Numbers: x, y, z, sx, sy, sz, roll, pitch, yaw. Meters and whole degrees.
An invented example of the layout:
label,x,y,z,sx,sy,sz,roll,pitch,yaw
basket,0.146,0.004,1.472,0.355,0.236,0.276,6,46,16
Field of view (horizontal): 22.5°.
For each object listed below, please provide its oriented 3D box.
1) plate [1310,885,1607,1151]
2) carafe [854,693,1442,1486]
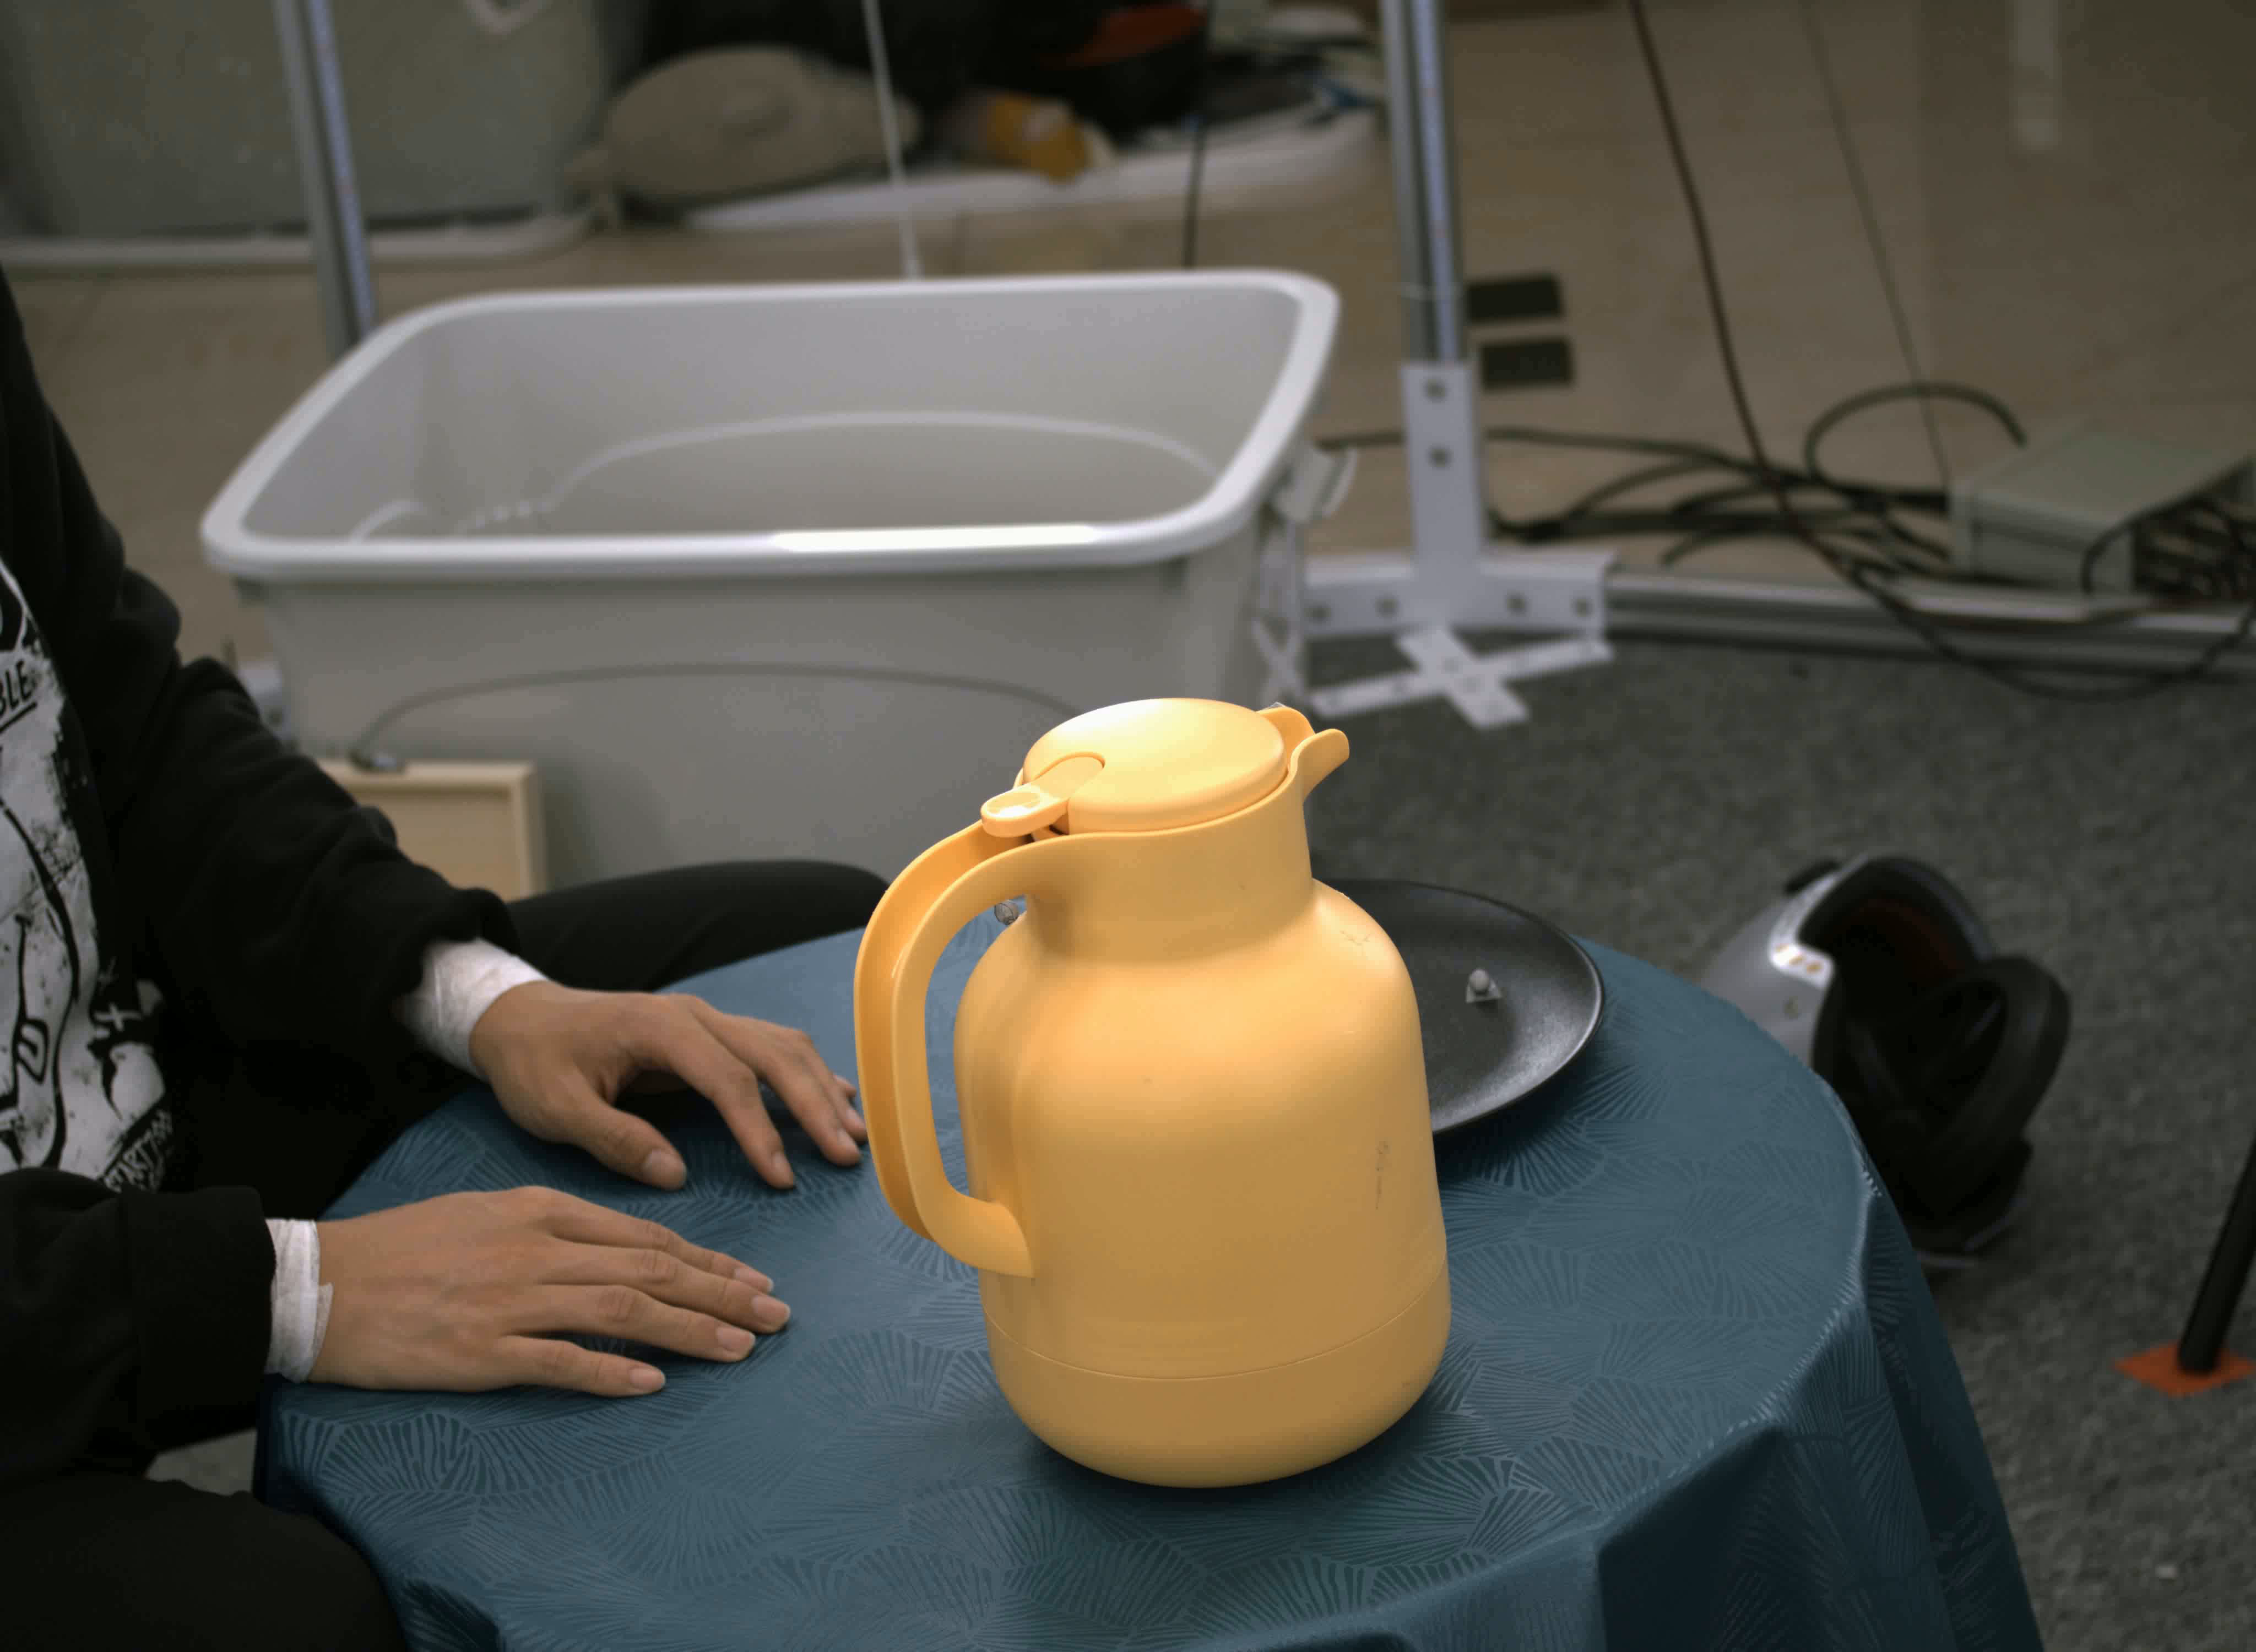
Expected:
label,x,y,z,sx,sy,sz,roll,pitch,yaw
plate,0.067,0.084,2.224,0.244,0.024,0.241,-5,25,3
carafe,0.003,0.091,1.936,0.201,0.264,0.162,-18,25,-26
